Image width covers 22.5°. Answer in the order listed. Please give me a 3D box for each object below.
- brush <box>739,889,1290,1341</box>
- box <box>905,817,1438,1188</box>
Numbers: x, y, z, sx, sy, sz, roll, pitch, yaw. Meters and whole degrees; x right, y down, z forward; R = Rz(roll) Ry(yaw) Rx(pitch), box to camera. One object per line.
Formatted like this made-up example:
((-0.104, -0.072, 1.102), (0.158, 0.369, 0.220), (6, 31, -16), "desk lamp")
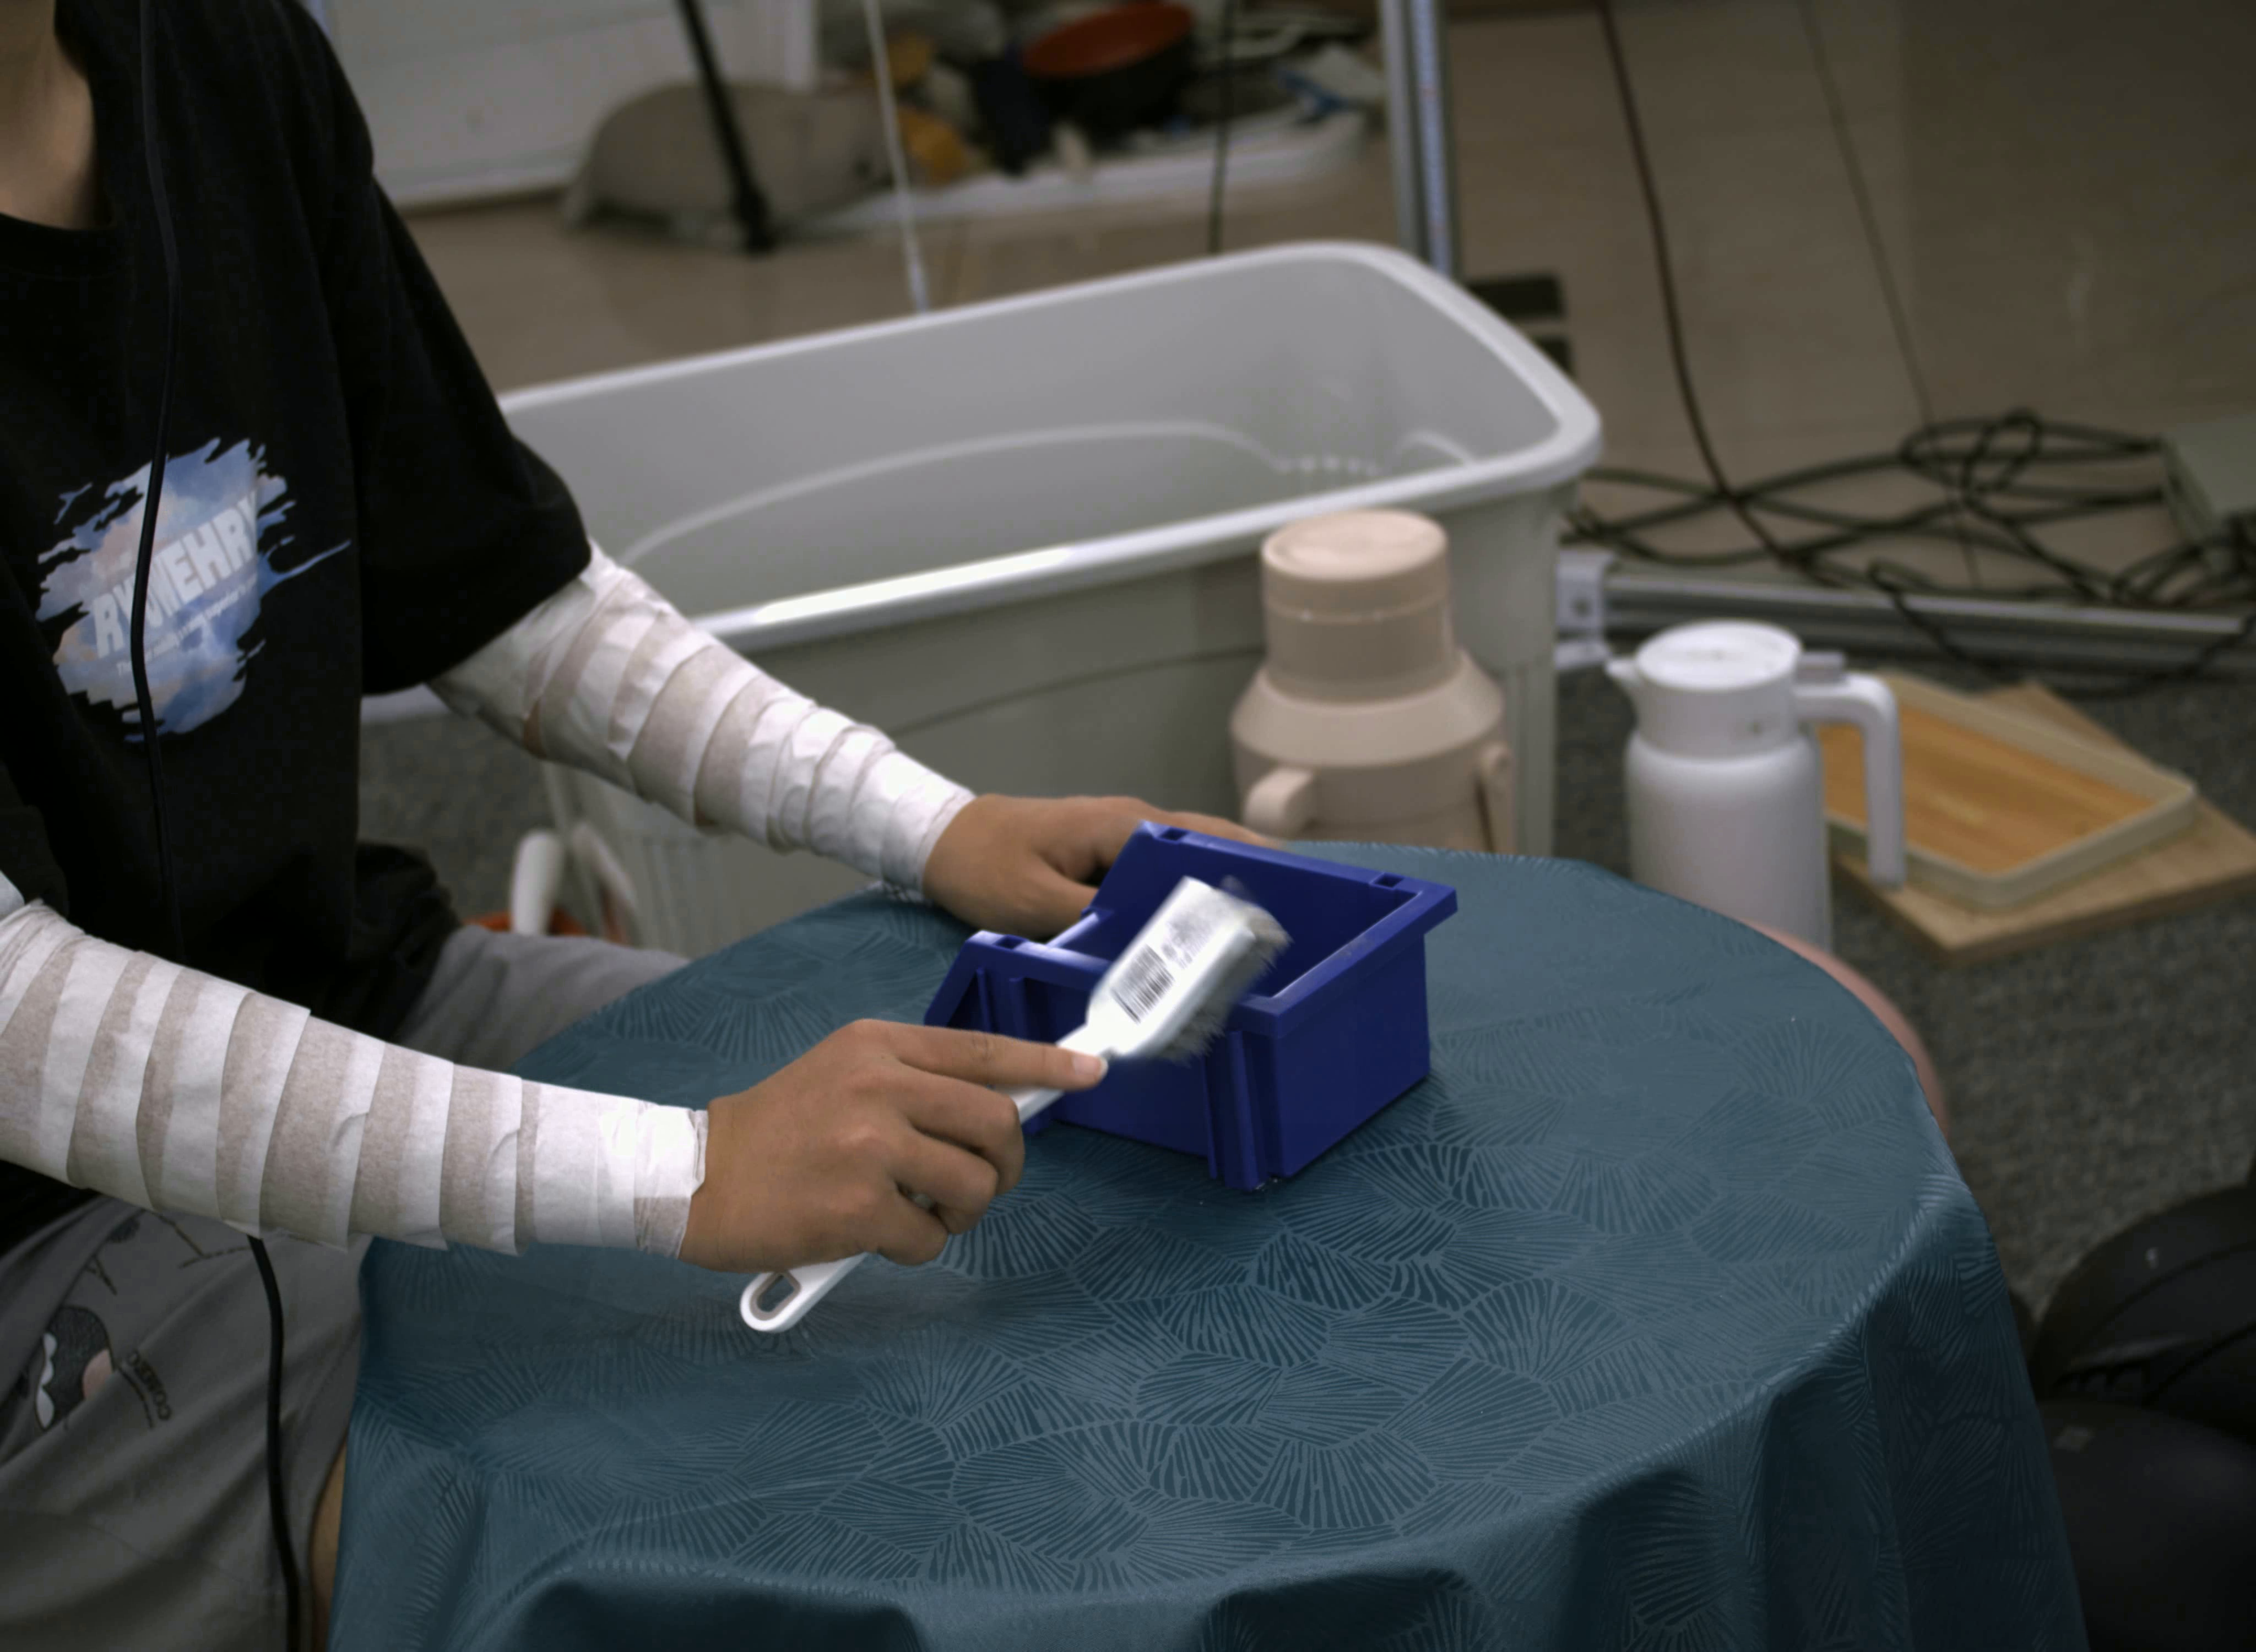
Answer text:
((-0.041, 0.112, 2.072), (0.243, 0.051, 0.034), (-41, 57, -5), "brush")
((0.015, 0.066, 2.204), (0.178, 0.083, 0.123), (15, 33, 36), "box")
